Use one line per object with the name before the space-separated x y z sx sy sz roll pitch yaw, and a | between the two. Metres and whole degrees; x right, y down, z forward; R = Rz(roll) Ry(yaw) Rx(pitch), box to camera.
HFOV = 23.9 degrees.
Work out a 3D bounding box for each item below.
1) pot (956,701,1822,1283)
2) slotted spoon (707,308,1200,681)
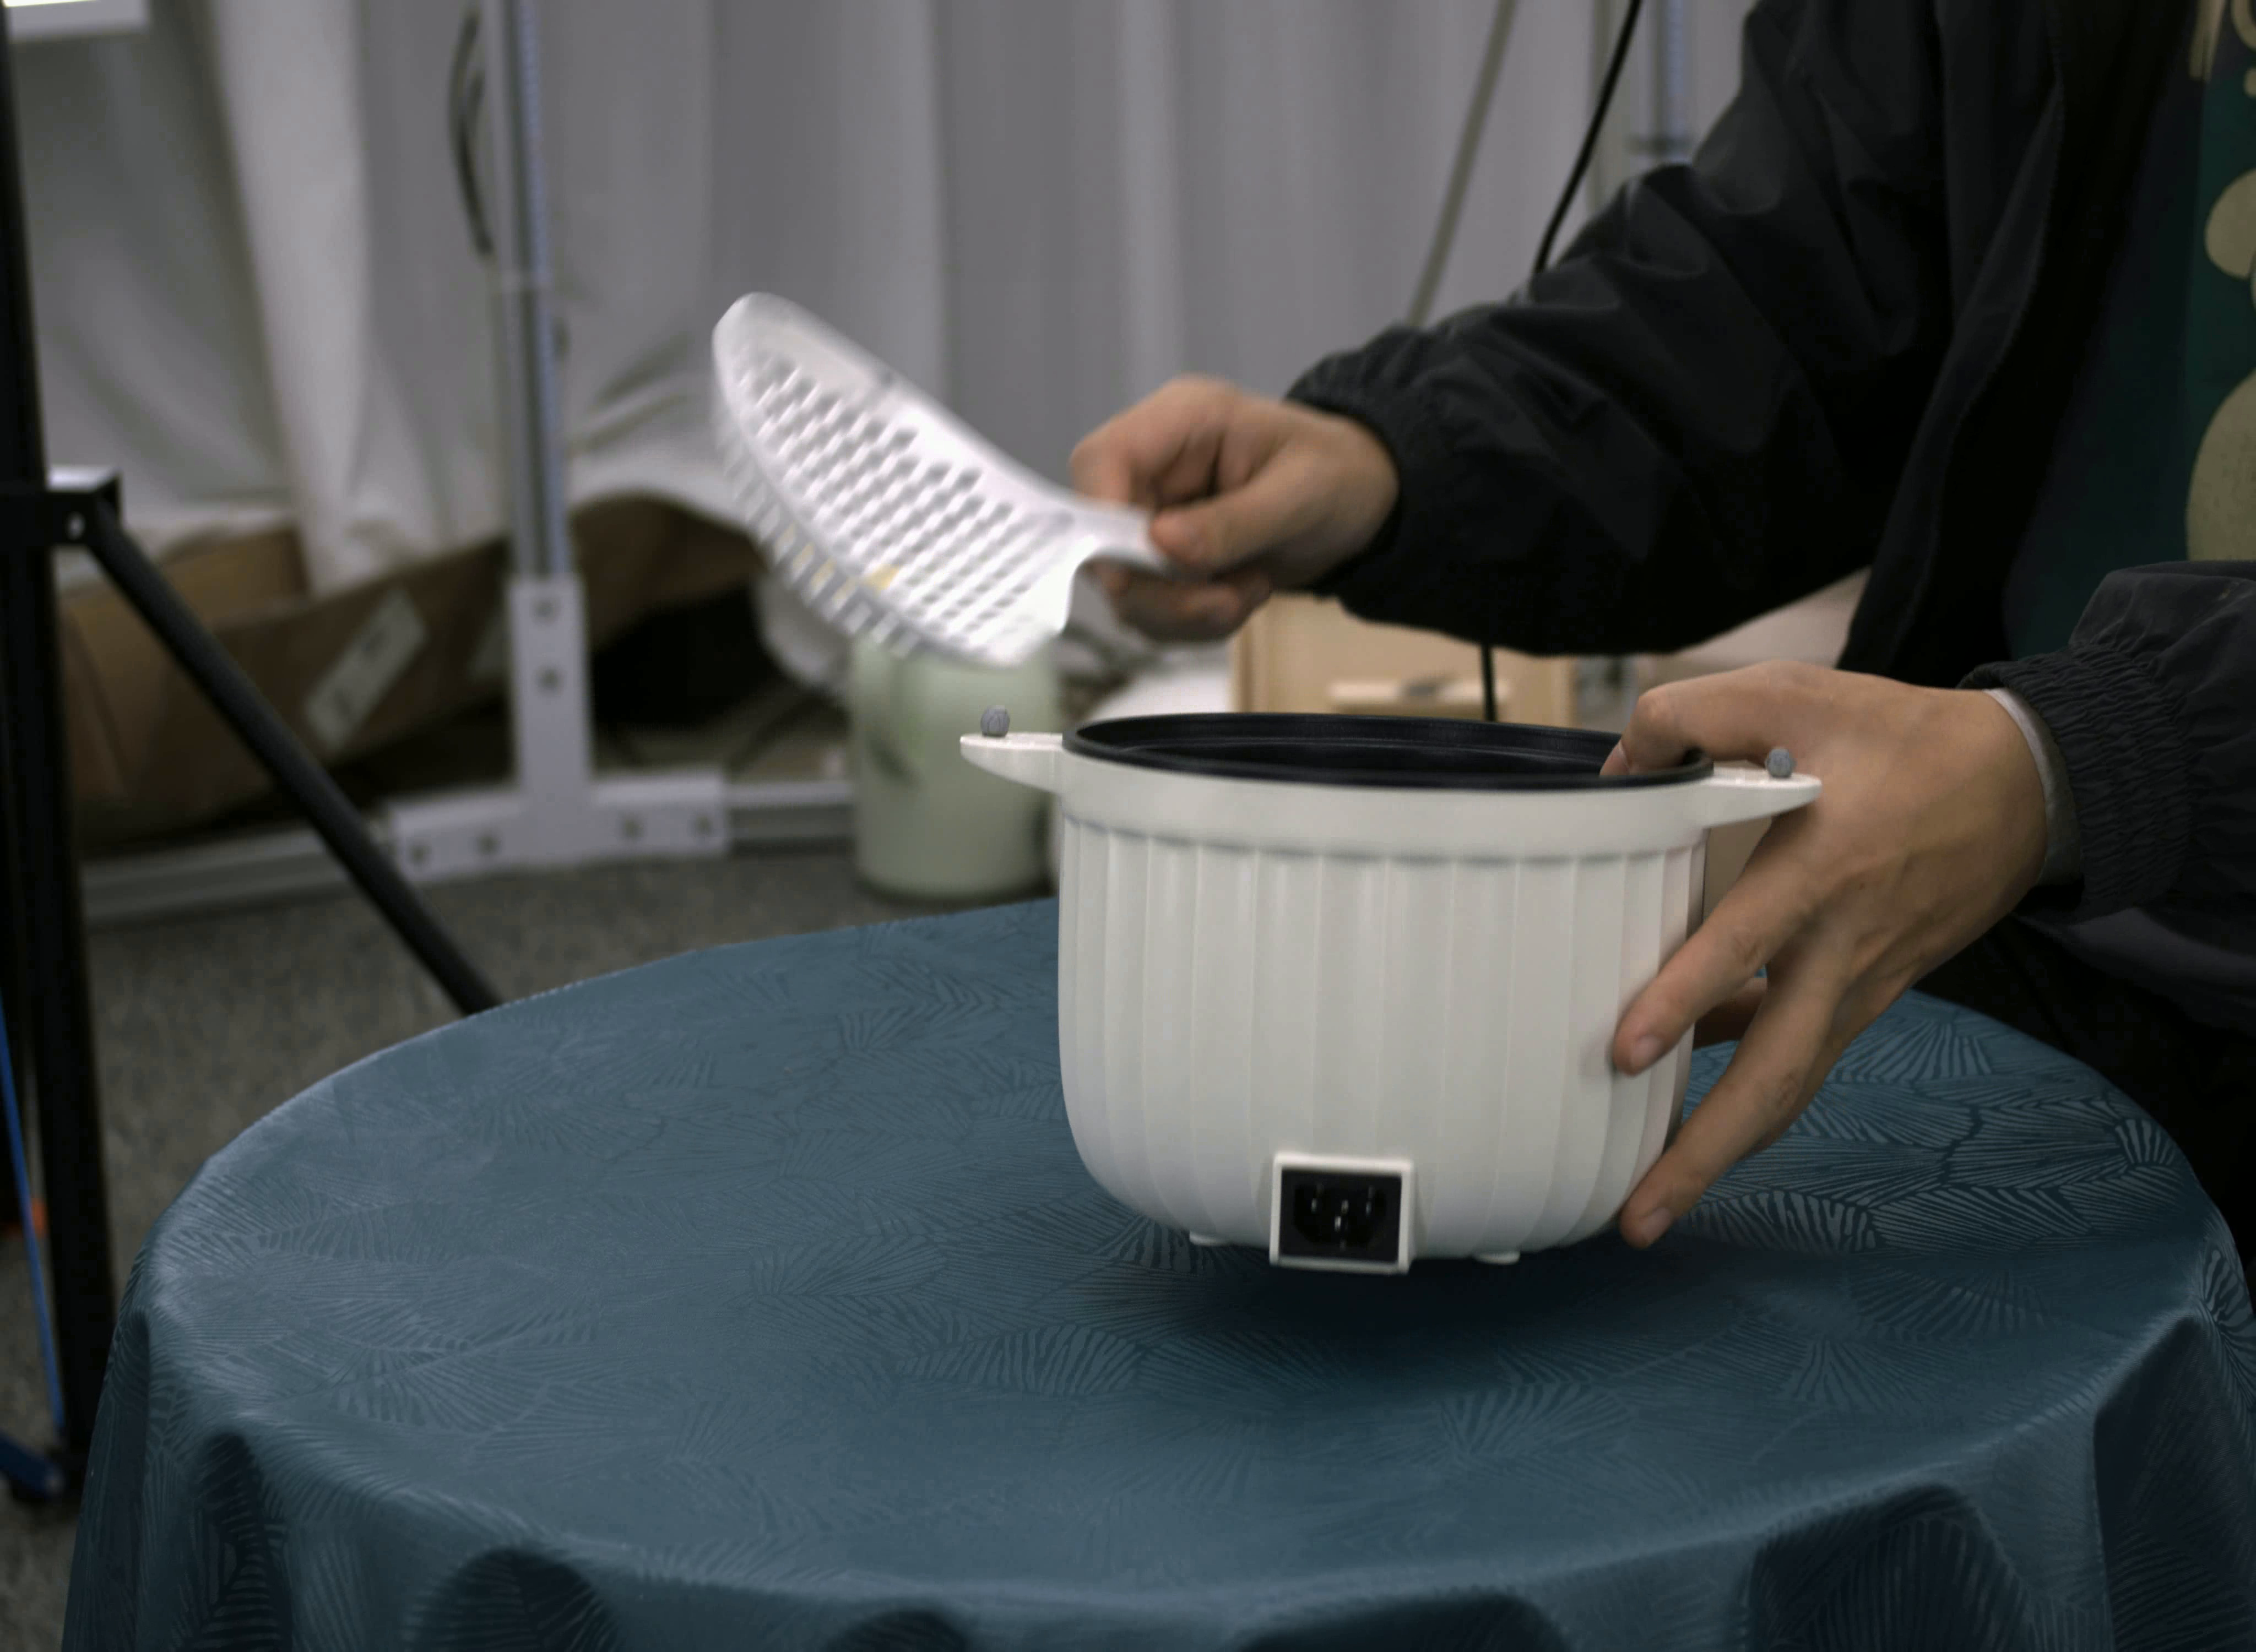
pot | 0.069 0.042 1.481 0.241 0.143 0.189 4 11 8
slotted spoon | -0.036 -0.085 1.664 0.050 0.138 0.340 -42 -18 21
